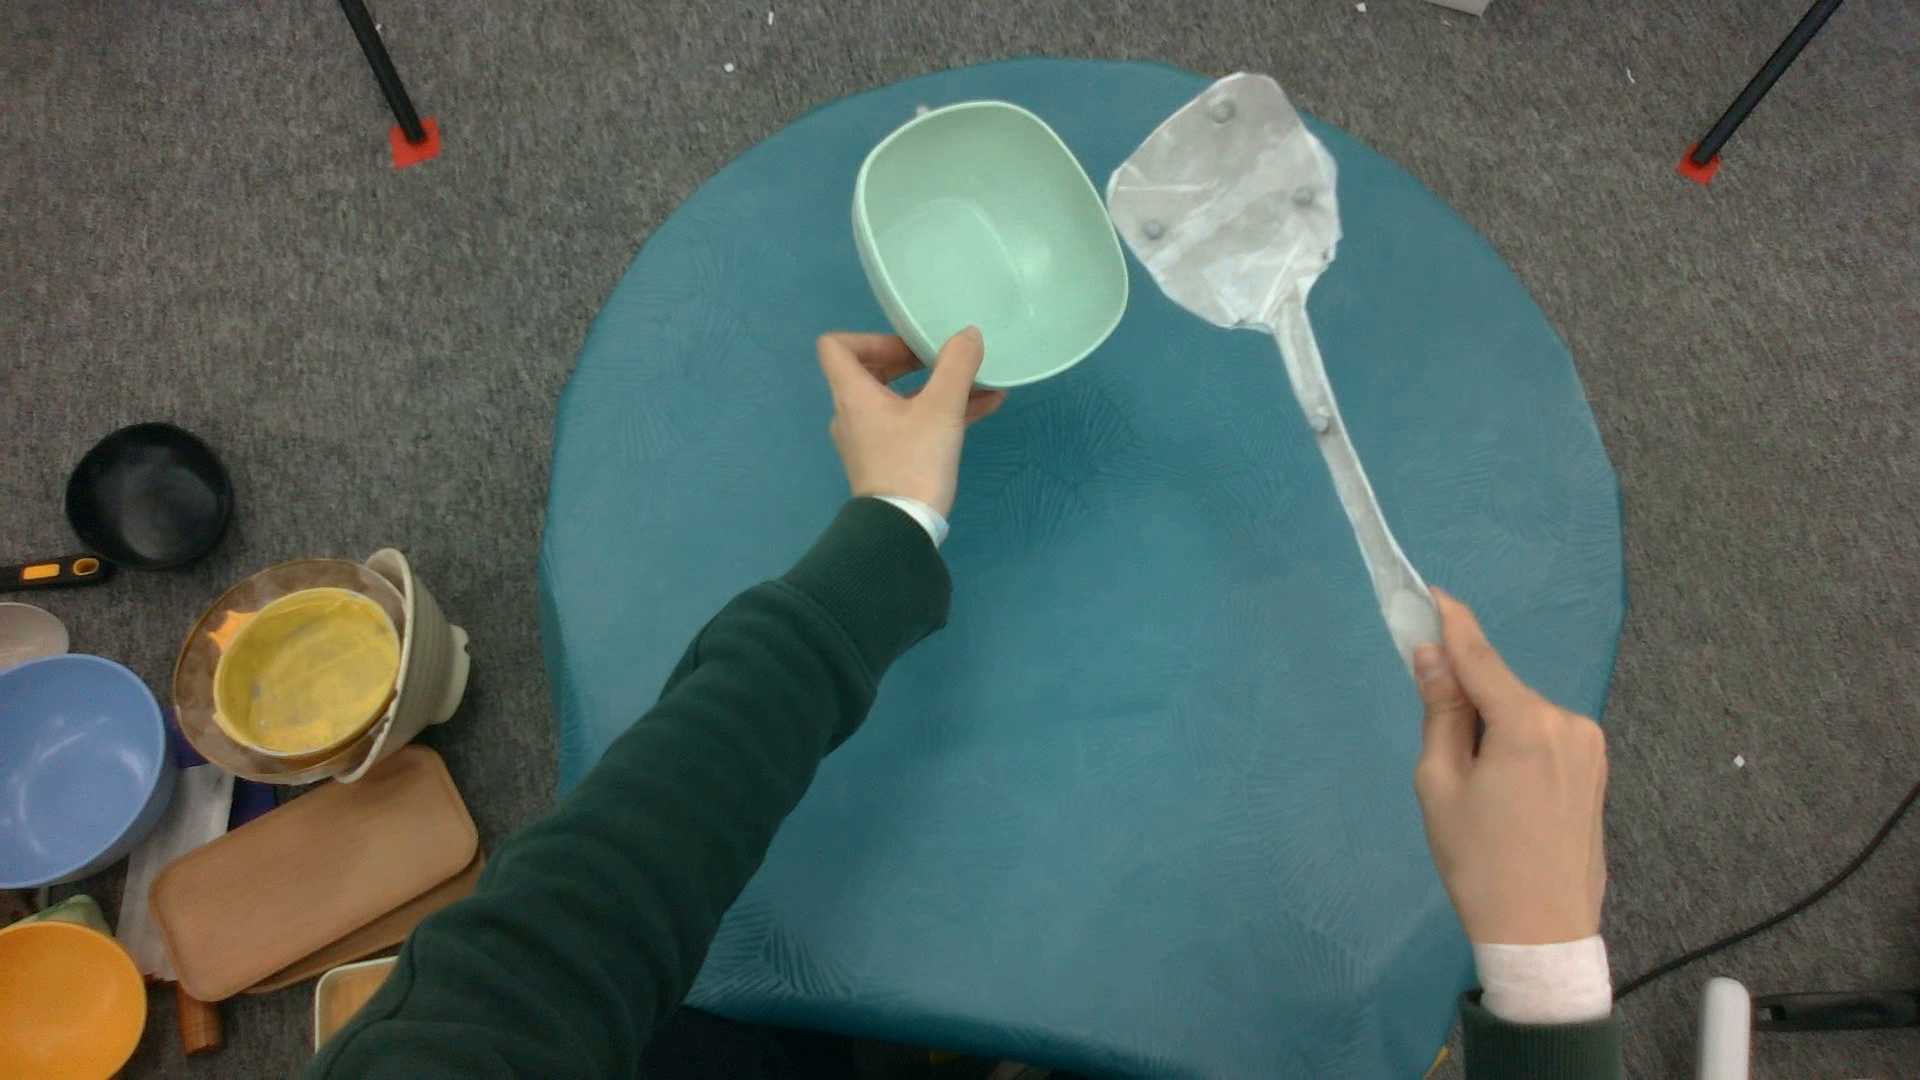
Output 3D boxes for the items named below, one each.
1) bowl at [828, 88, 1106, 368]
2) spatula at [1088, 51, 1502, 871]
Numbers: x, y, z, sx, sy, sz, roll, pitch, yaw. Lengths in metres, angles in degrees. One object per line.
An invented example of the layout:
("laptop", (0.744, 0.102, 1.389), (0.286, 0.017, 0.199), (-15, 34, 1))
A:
("bowl", (-0.005, -0.146, 0.686), (0.151, 0.058, 0.152), (9, 70, -28))
("spatula", (0.150, -0.040, 0.584), (0.045, 0.098, 0.366), (9, 58, -50))
